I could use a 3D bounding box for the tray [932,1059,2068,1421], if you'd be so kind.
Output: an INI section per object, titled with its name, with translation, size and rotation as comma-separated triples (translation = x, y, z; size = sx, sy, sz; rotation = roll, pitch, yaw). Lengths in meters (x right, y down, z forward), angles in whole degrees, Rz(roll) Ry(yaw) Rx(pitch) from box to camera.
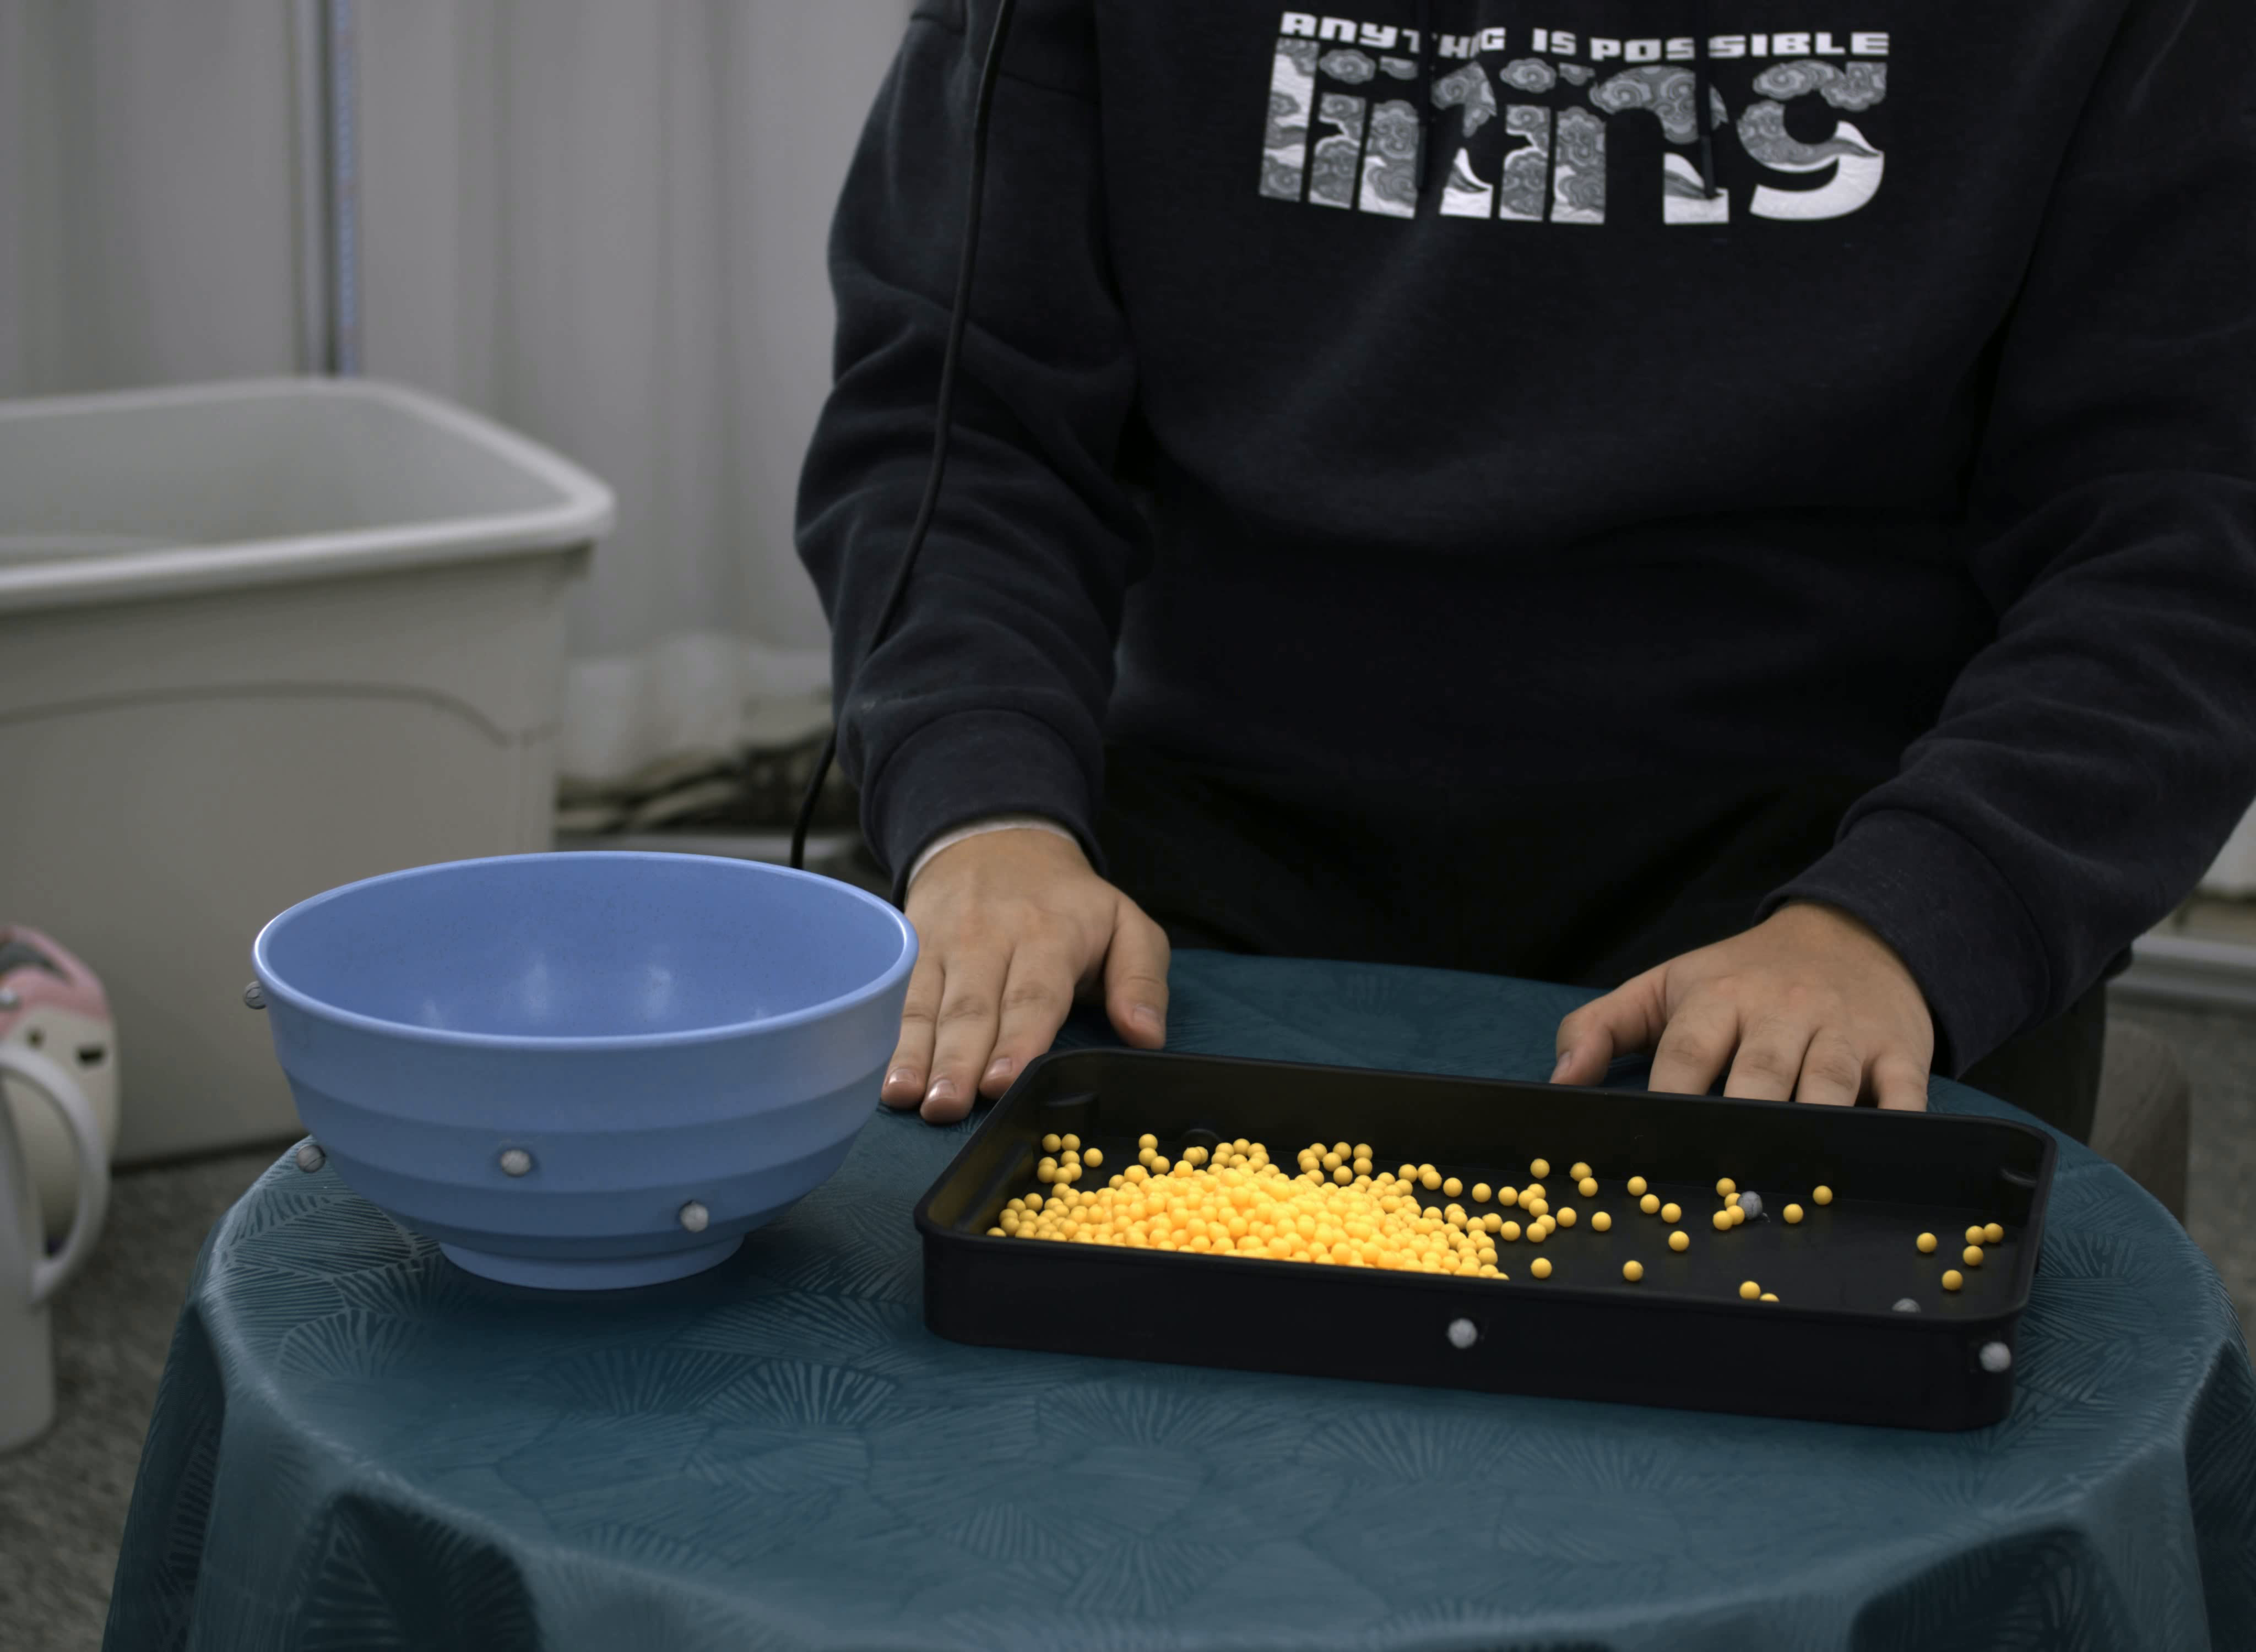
[tray]
translation = 0.113, 0.119, 1.547
size = 0.316, 0.037, 0.184
rotation = 2, 15, 10

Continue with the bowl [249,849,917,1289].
[bowl]
translation = -0.159, 0.077, 1.563
size = 0.196, 0.096, 0.195
rotation = -1, 16, 1
